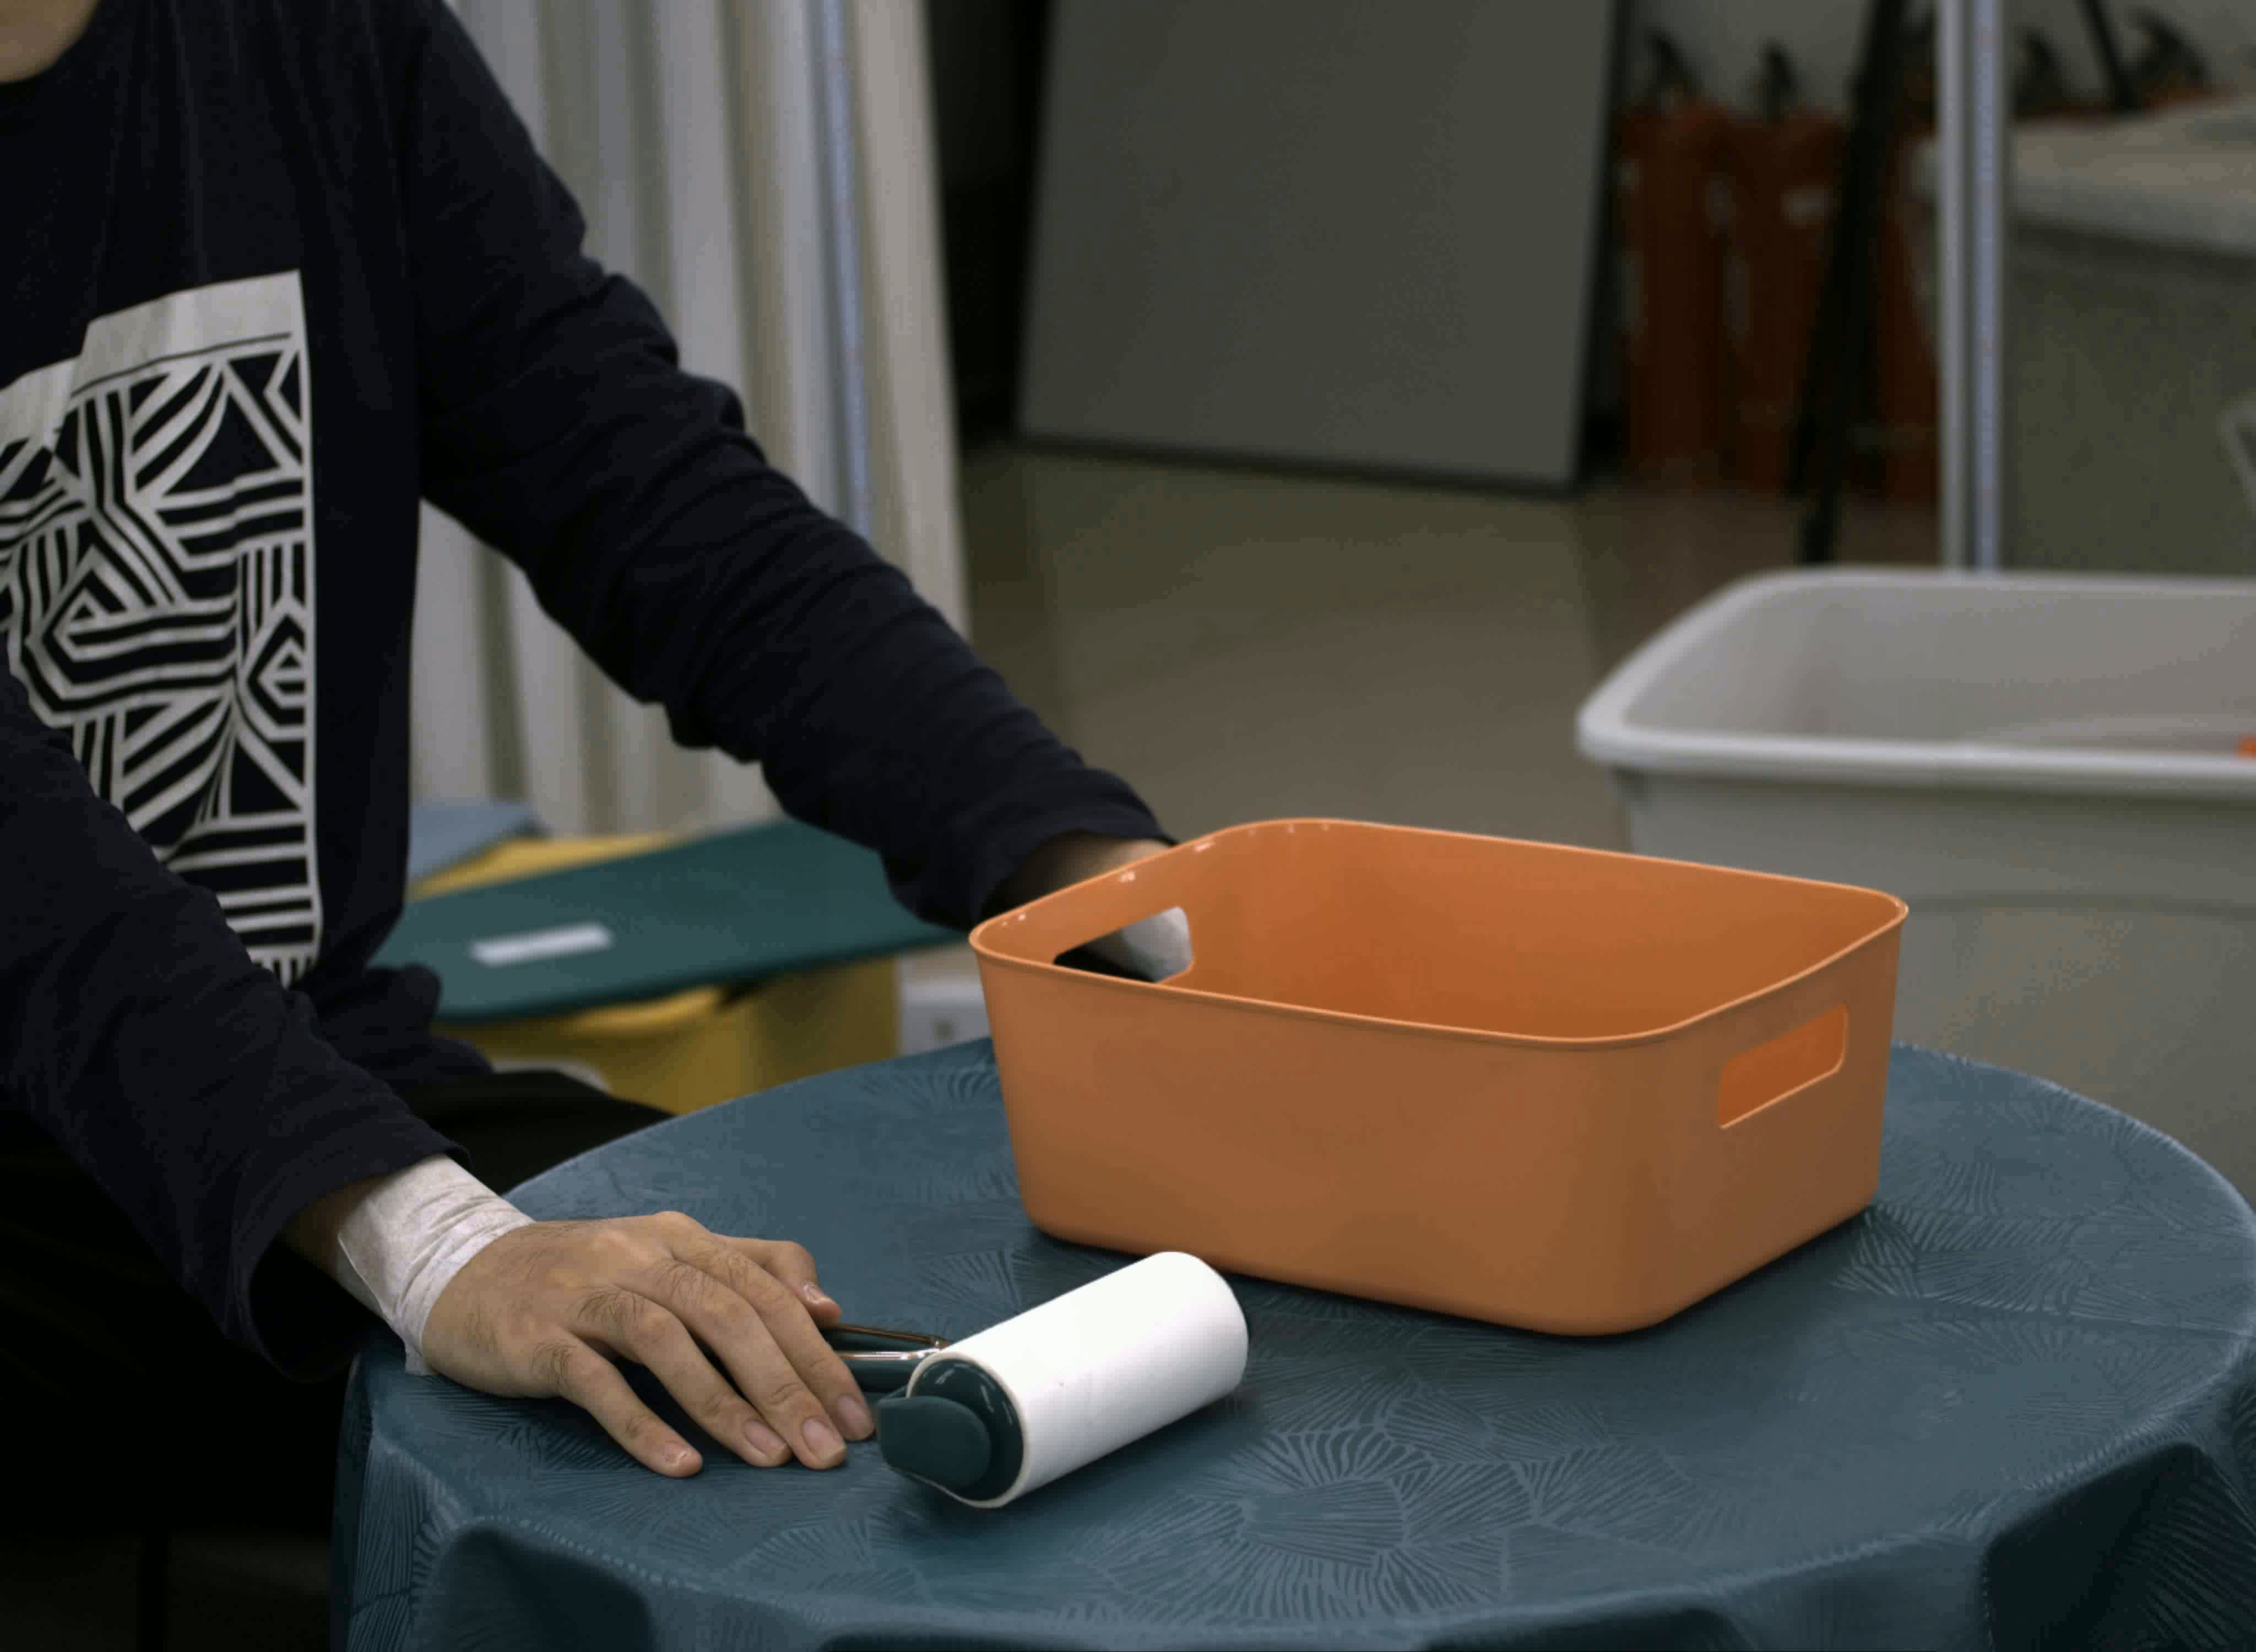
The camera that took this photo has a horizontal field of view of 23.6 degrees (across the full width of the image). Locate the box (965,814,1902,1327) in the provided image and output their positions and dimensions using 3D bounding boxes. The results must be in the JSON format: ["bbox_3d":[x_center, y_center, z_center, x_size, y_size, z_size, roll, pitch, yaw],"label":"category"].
[{"bbox_3d":[0.097,0.075,1.710,0.275,0.104,0.196,6,17,38],"label":"box"}]

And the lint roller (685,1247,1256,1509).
[{"bbox_3d":[-0.065,0.154,1.576,0.181,0.049,0.132,2,15,41],"label":"lint roller"}]
